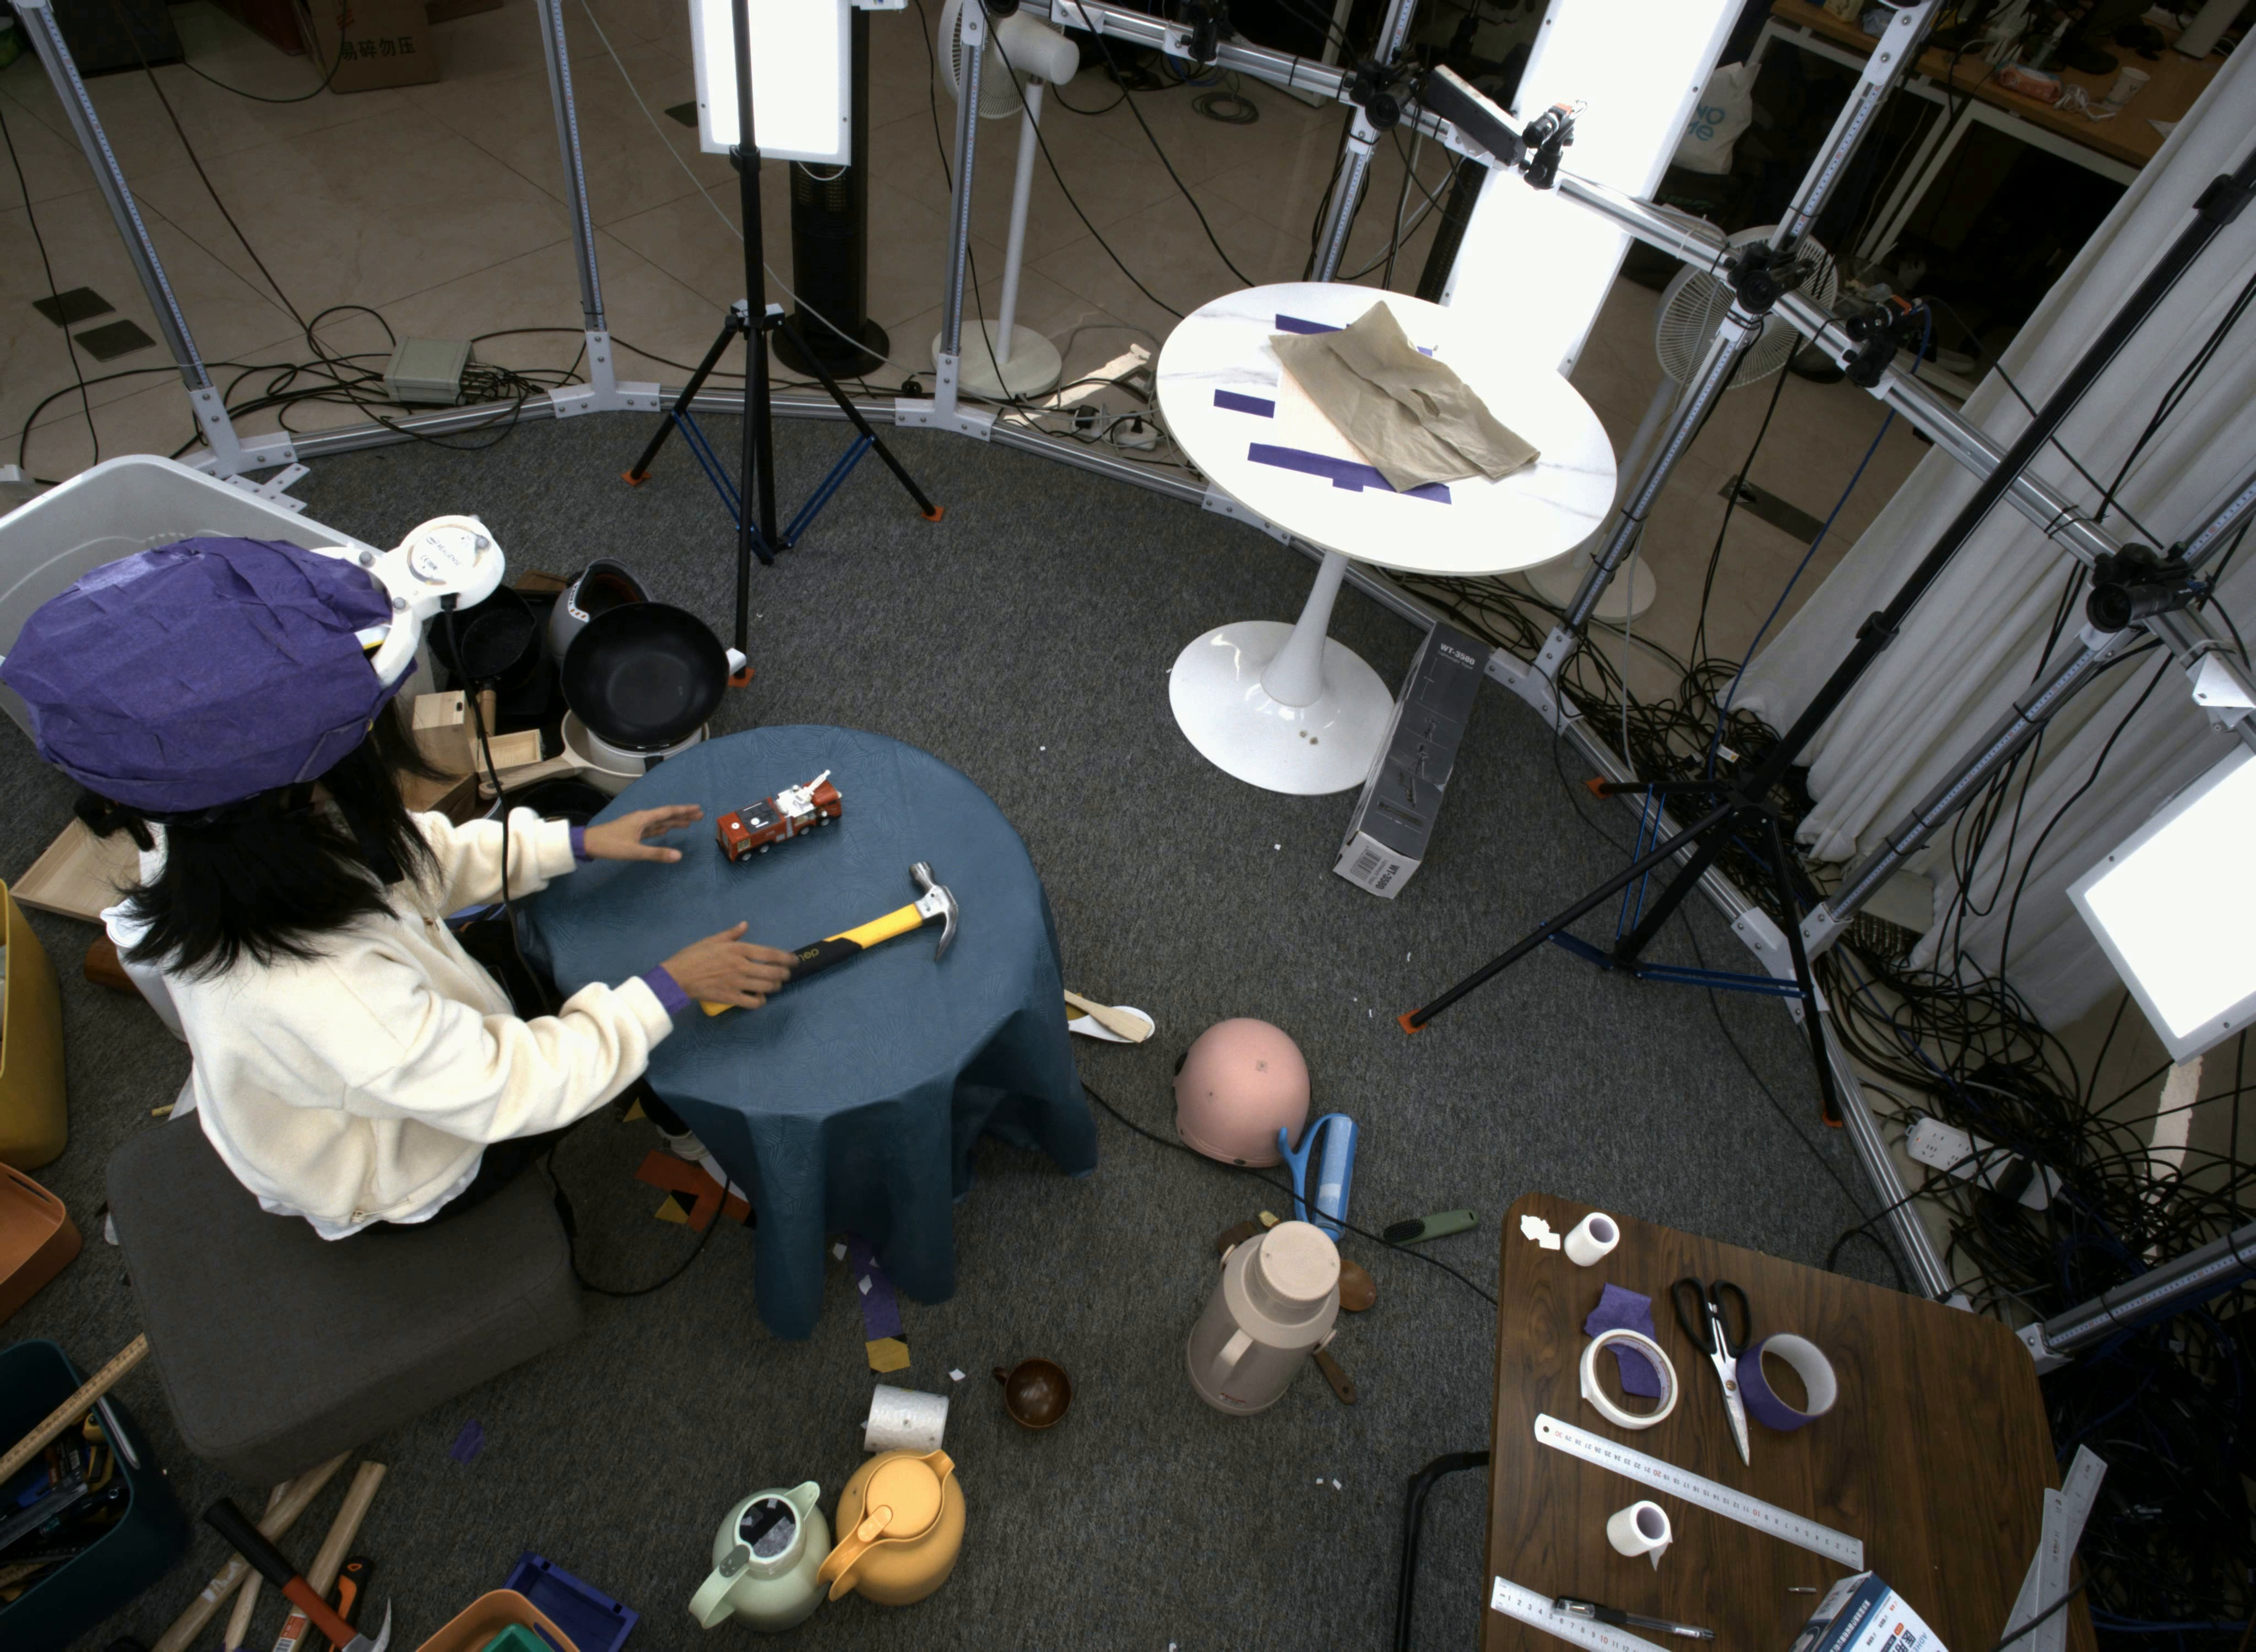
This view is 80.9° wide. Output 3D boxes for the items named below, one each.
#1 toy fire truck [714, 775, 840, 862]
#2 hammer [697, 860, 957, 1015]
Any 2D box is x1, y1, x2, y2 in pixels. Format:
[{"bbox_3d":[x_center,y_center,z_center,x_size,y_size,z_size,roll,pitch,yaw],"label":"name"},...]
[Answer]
[{"bbox_3d":[-0.454,-0.012,1.682,0.168,0.072,0.052,-28,63,-29],"label":"toy fire truck"},{"bbox_3d":[-0.365,0.148,1.598,0.340,0.033,0.128,-21,63,-29],"label":"hammer"}]
